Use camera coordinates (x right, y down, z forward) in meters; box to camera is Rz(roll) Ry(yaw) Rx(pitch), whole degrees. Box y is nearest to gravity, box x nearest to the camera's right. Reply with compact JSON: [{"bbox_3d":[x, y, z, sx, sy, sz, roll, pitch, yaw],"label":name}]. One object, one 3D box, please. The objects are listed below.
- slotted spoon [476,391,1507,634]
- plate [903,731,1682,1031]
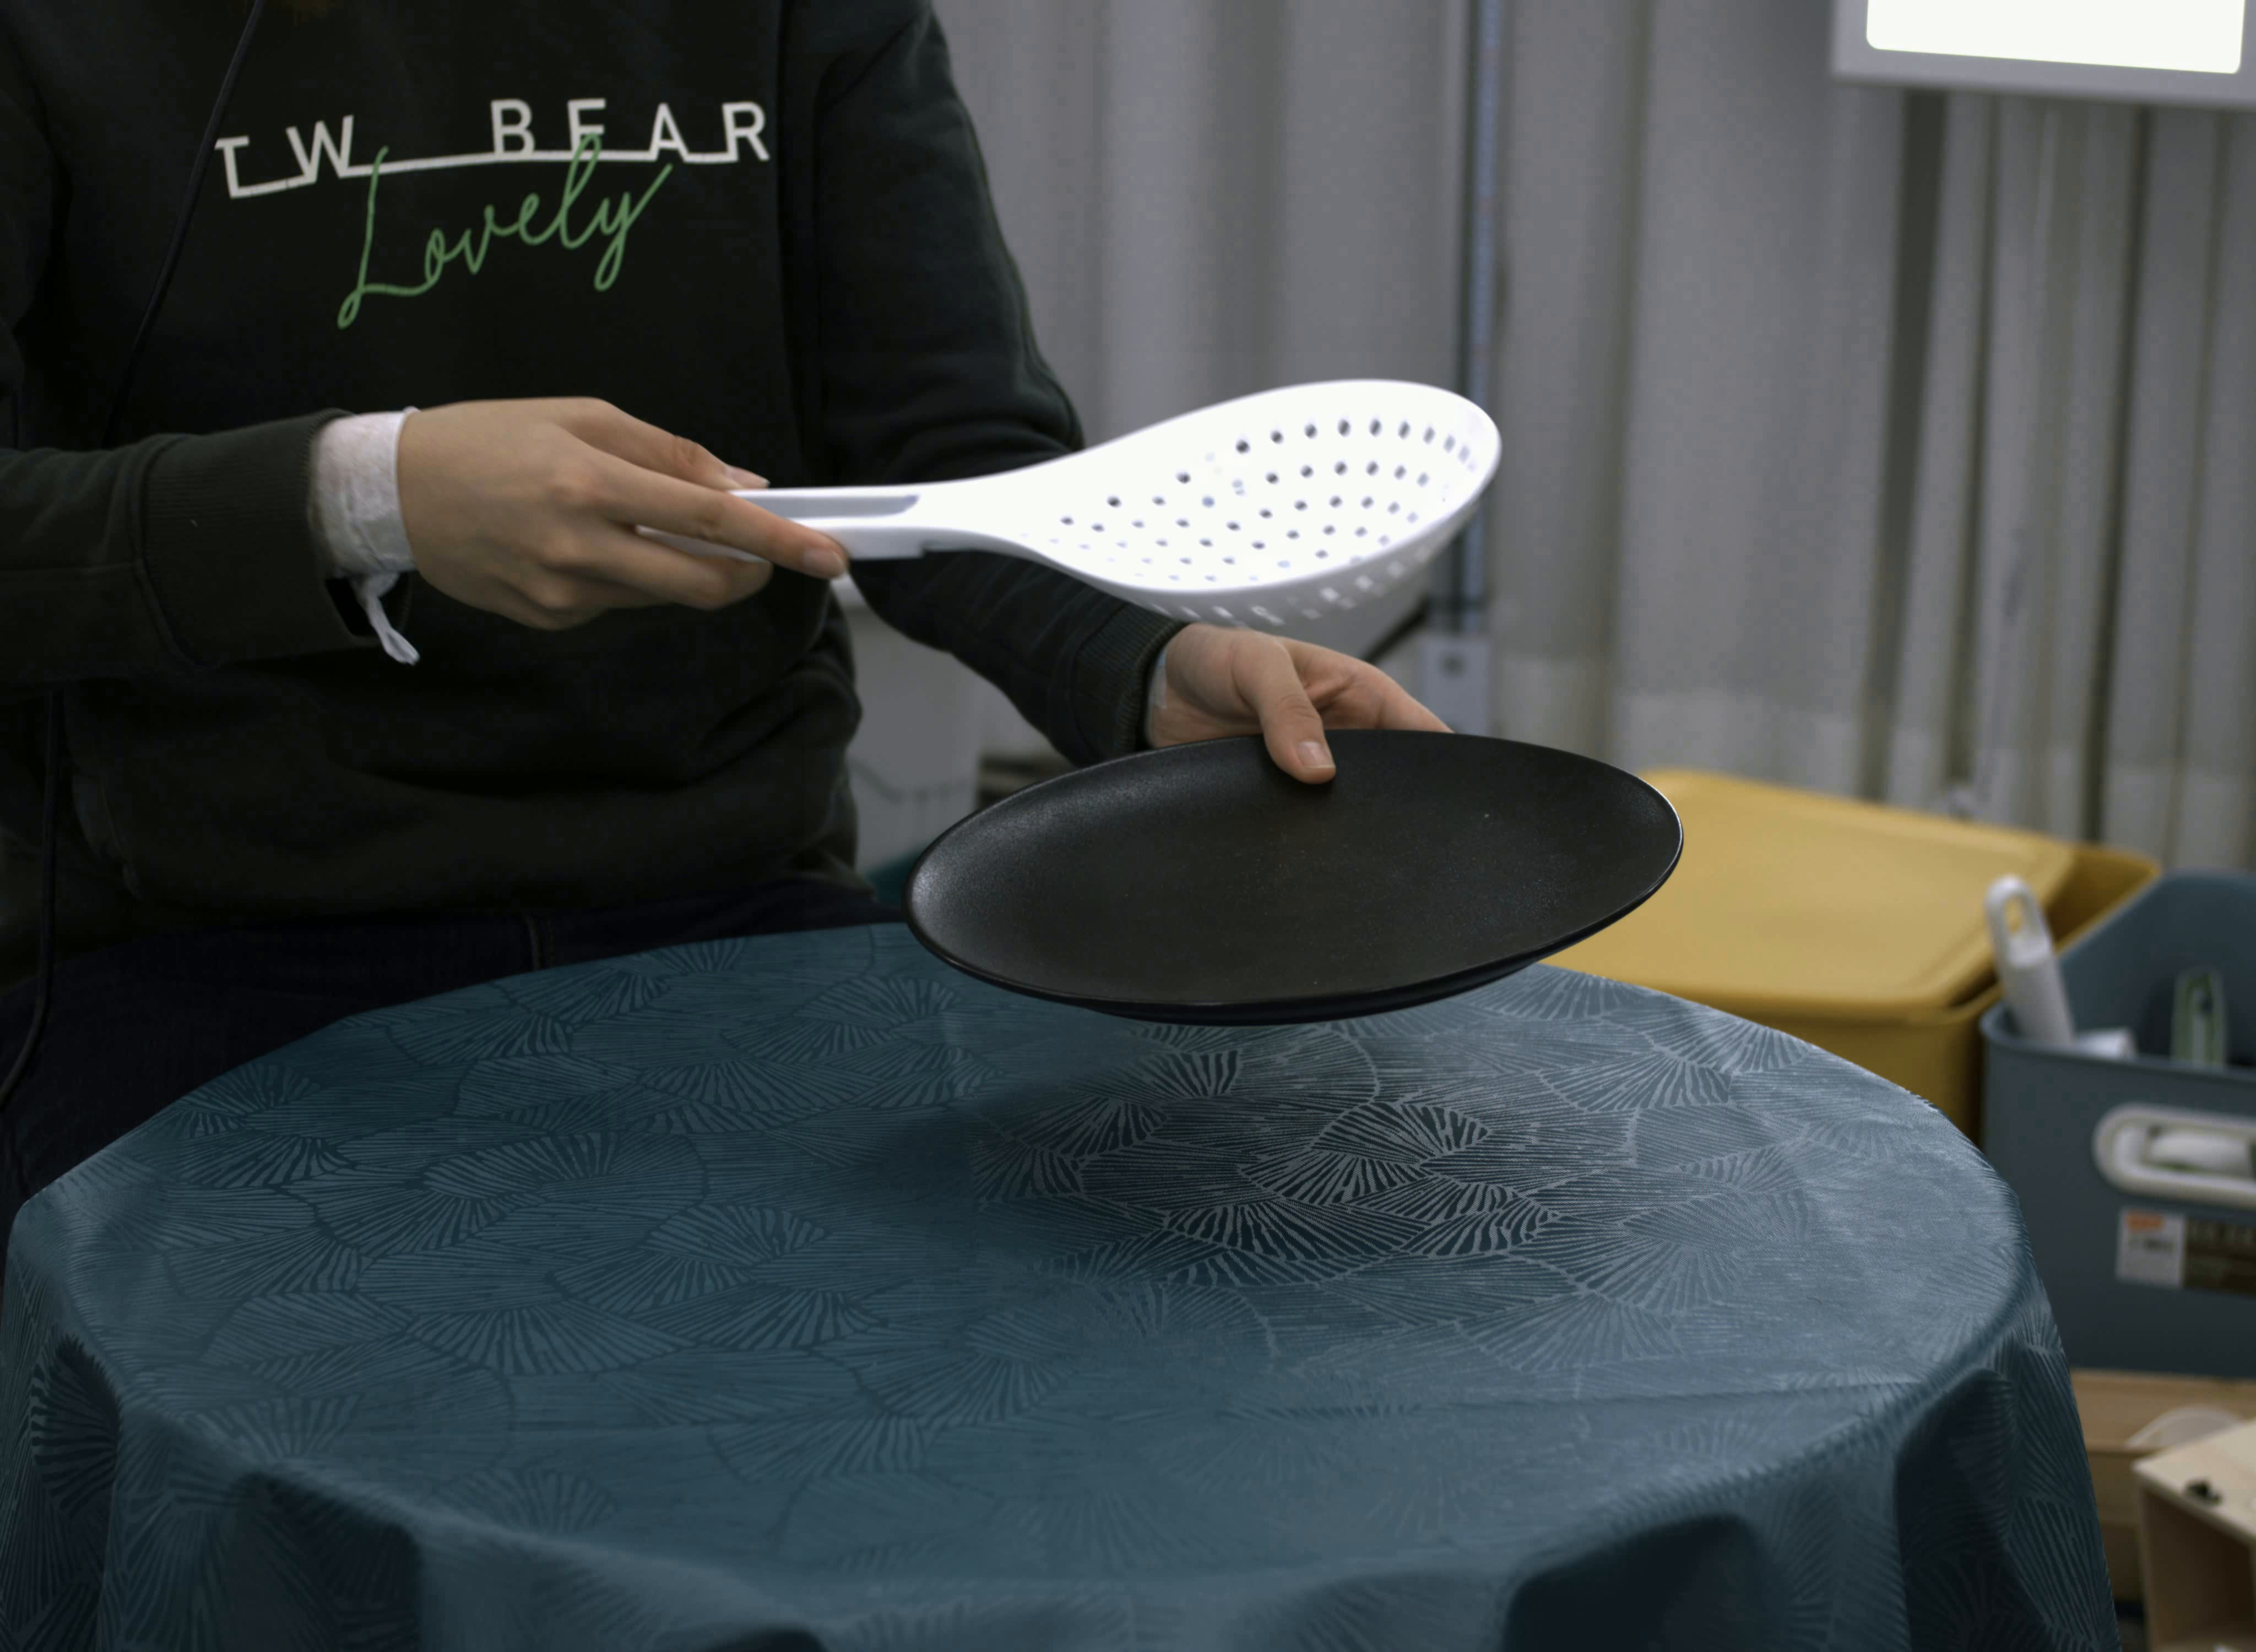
[{"bbox_3d":[-0.048,-0.096,1.653,0.346,0.046,0.135,4,32,20],"label":"slotted spoon"},{"bbox_3d":[0.052,0.019,1.639,0.243,0.023,0.243,-4,20,2],"label":"plate"}]
